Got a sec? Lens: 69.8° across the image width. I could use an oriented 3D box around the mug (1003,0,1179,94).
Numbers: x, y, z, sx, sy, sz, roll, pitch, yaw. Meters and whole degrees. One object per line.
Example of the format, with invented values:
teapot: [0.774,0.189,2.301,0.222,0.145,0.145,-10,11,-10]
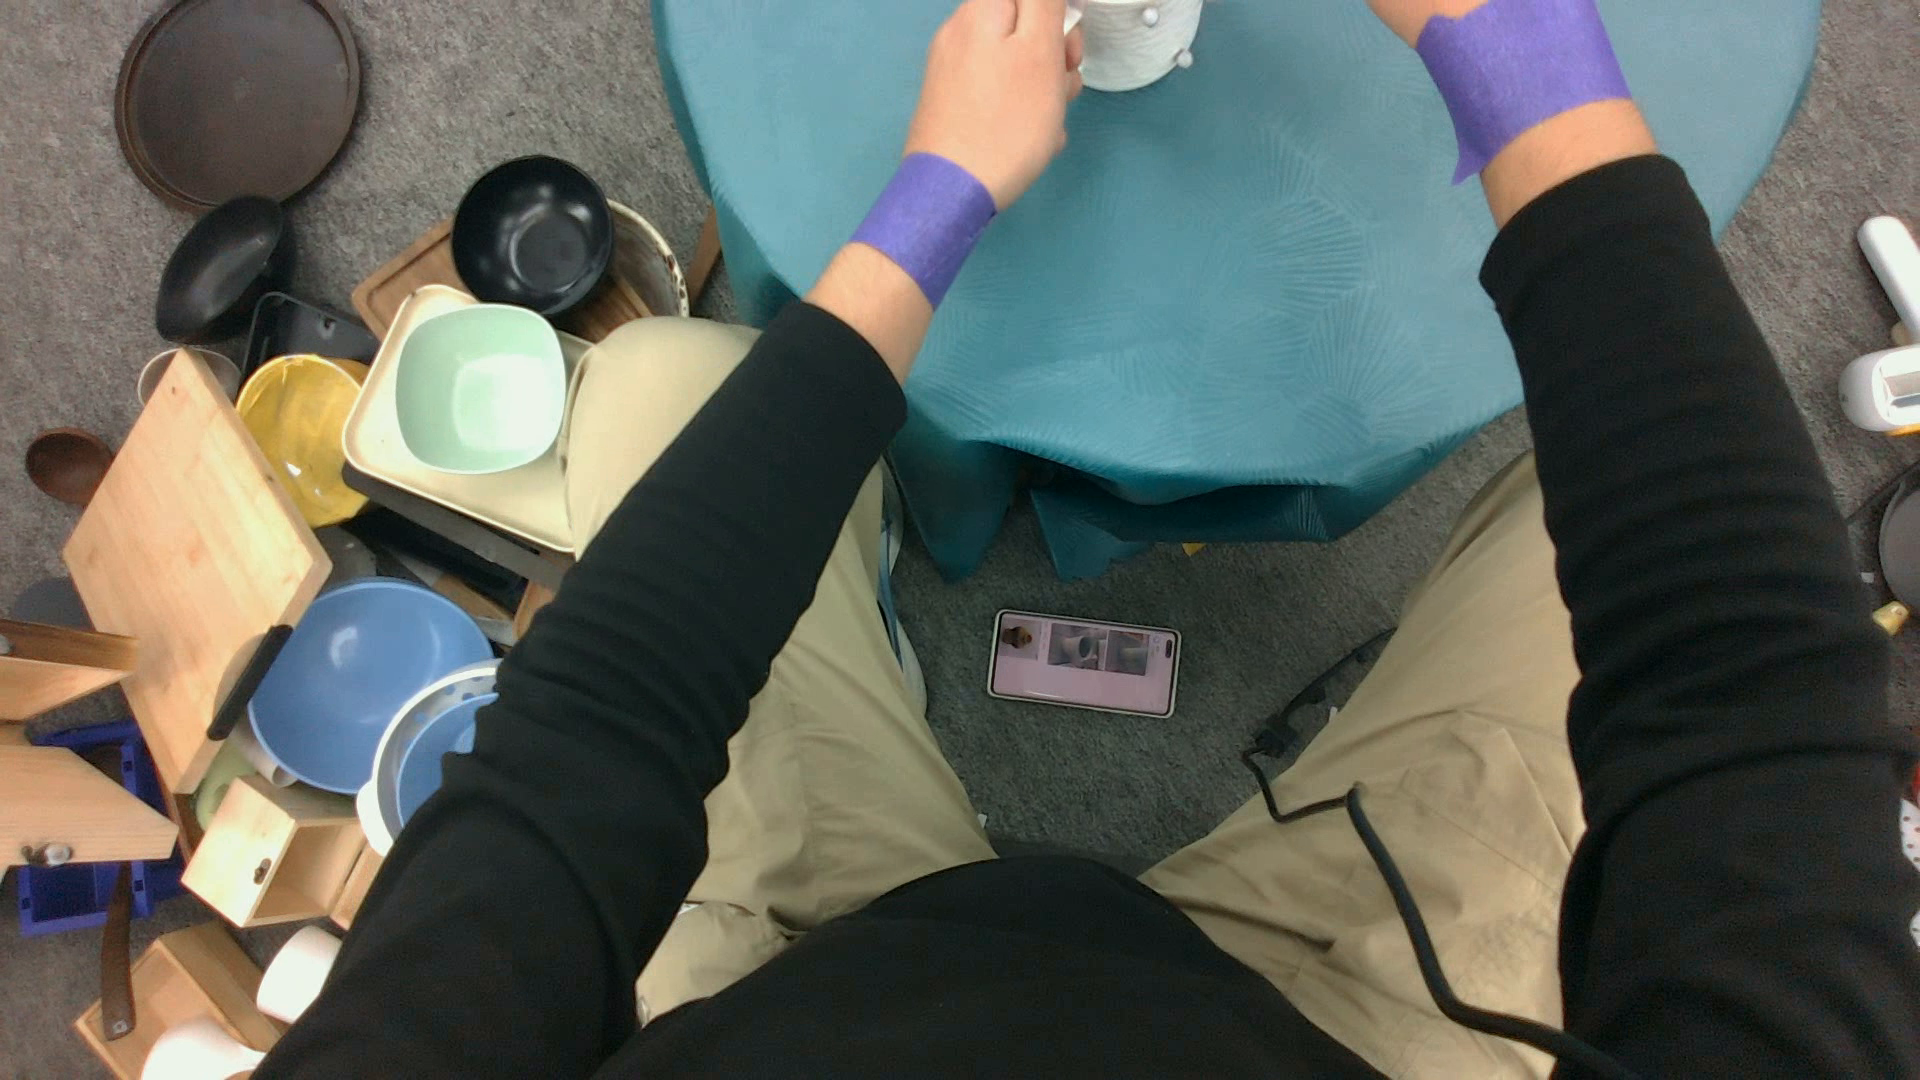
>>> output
mug: [0.059,-0.266,0.660,0.085,0.102,0.118,33,86,4]
